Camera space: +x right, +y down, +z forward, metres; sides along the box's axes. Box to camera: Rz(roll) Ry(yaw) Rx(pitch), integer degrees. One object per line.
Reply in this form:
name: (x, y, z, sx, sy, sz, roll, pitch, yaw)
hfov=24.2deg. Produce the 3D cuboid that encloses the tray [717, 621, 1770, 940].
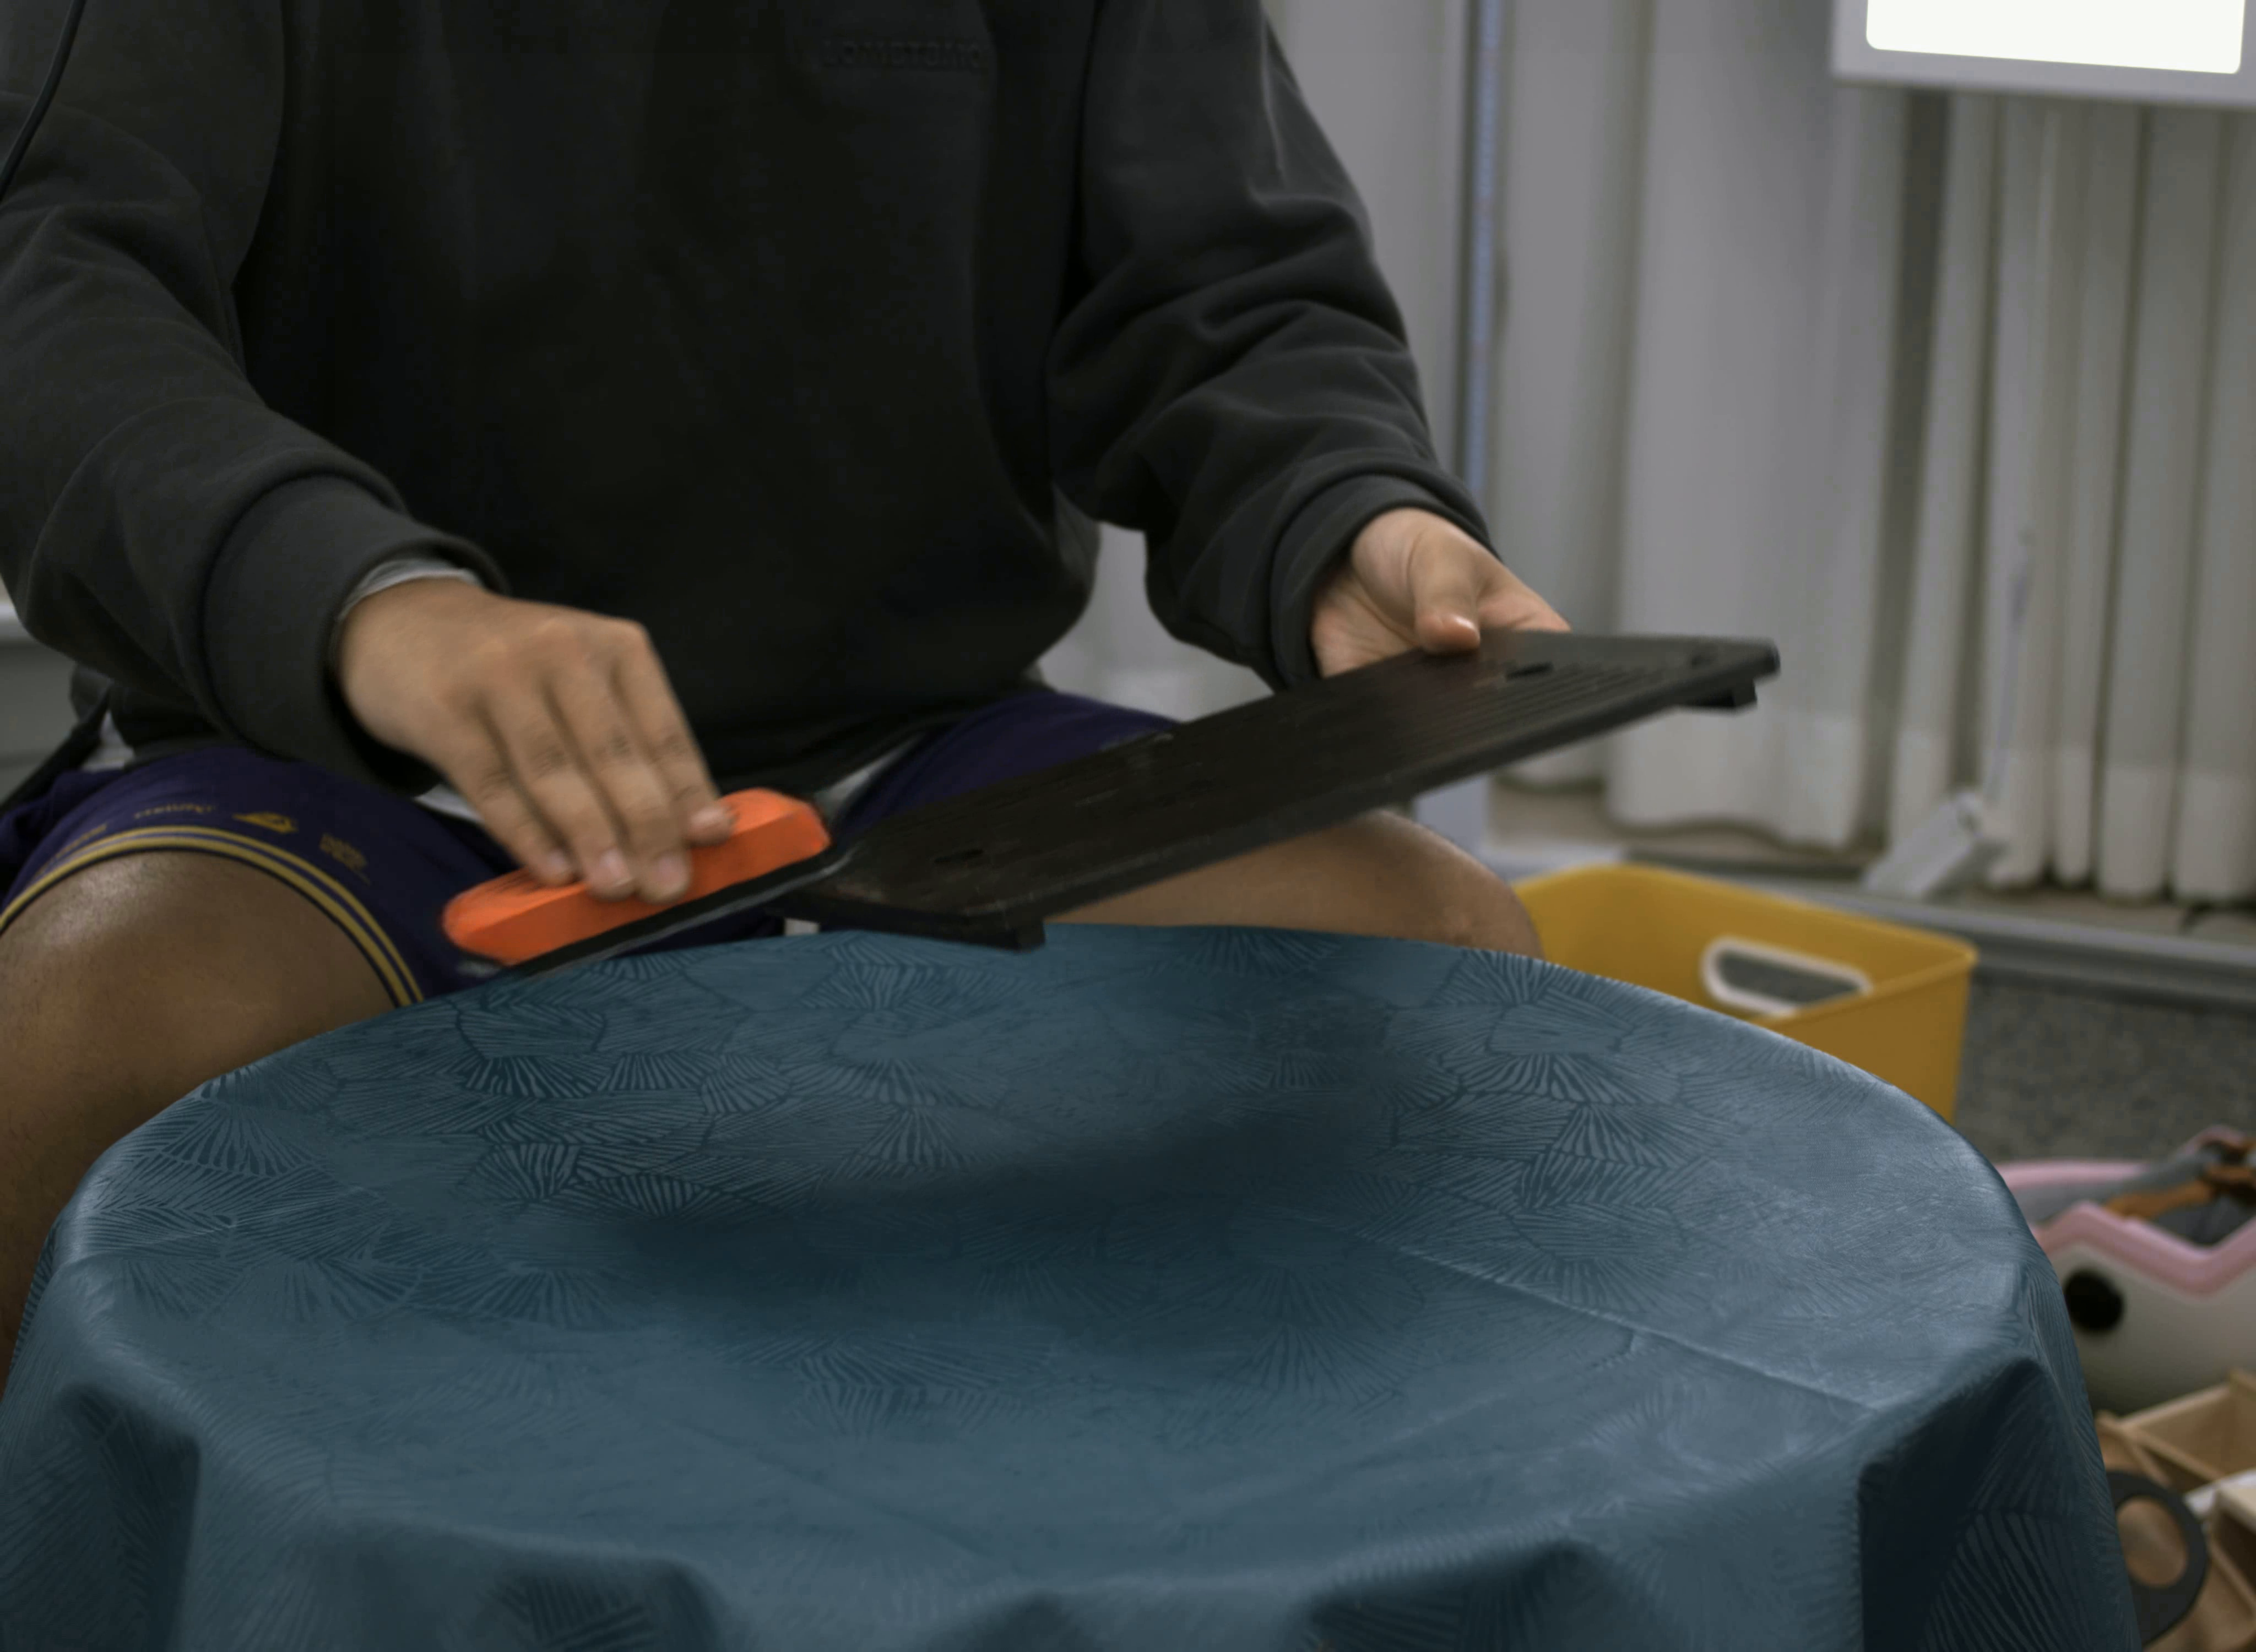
tray: (0.037, -0.016, 1.624, 0.307, 0.019, 0.168, -19, 13, -30)

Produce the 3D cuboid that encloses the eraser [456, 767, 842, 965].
eraser: (-0.143, 0.011, 1.572, 0.108, 0.023, 0.058, -22, 14, -26)
